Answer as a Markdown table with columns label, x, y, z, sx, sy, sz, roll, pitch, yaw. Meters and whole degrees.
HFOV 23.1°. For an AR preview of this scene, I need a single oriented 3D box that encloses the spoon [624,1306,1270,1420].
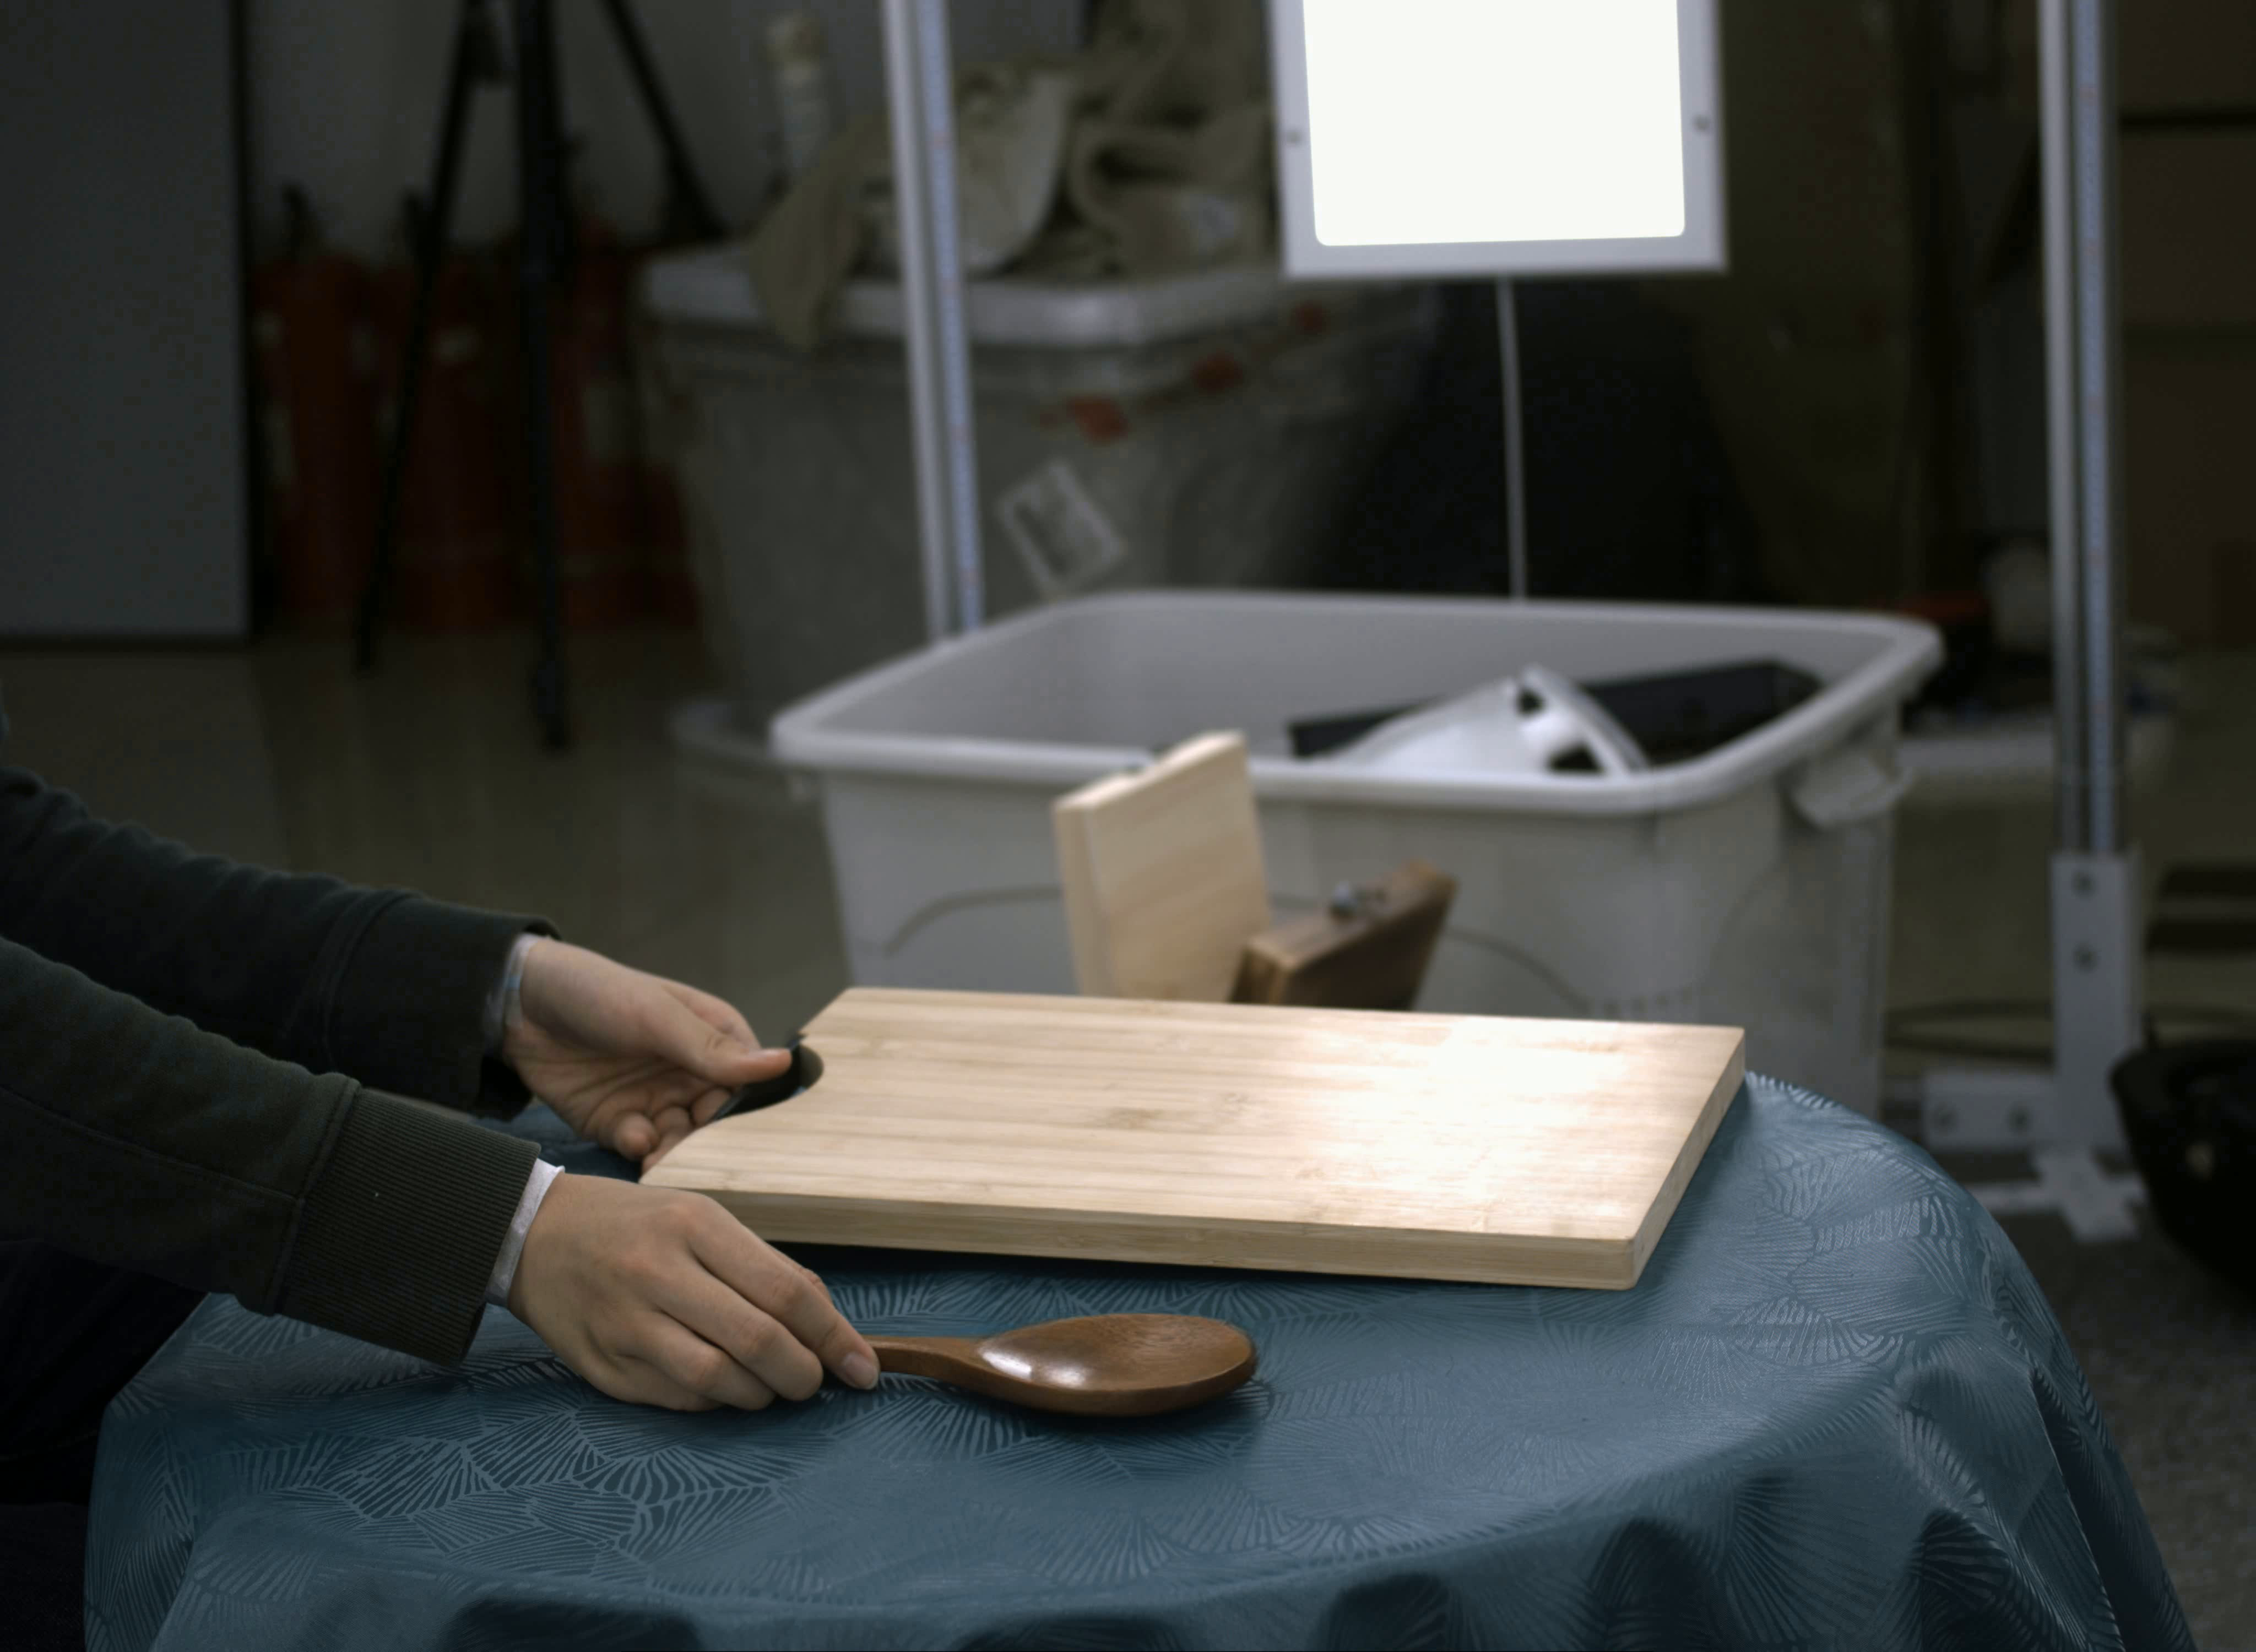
| label | x | y | z | sx | sy | sz | roll | pitch | yaw |
| --- | --- | --- | --- | --- | --- | --- | --- | --- | --- |
| spoon | -0.058 | 0.166 | 1.721 | 0.219 | 0.017 | 0.074 | 2 | 17 | 23 |

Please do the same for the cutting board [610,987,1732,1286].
| label | x | y | z | sx | sy | sz | roll | pitch | yaw |
| --- | --- | --- | --- | --- | --- | --- | --- | --- | --- |
| cutting board | 0.022 | 0.105 | 1.912 | 0.352 | 0.024 | 0.247 | 2 | 14 | 16 |
